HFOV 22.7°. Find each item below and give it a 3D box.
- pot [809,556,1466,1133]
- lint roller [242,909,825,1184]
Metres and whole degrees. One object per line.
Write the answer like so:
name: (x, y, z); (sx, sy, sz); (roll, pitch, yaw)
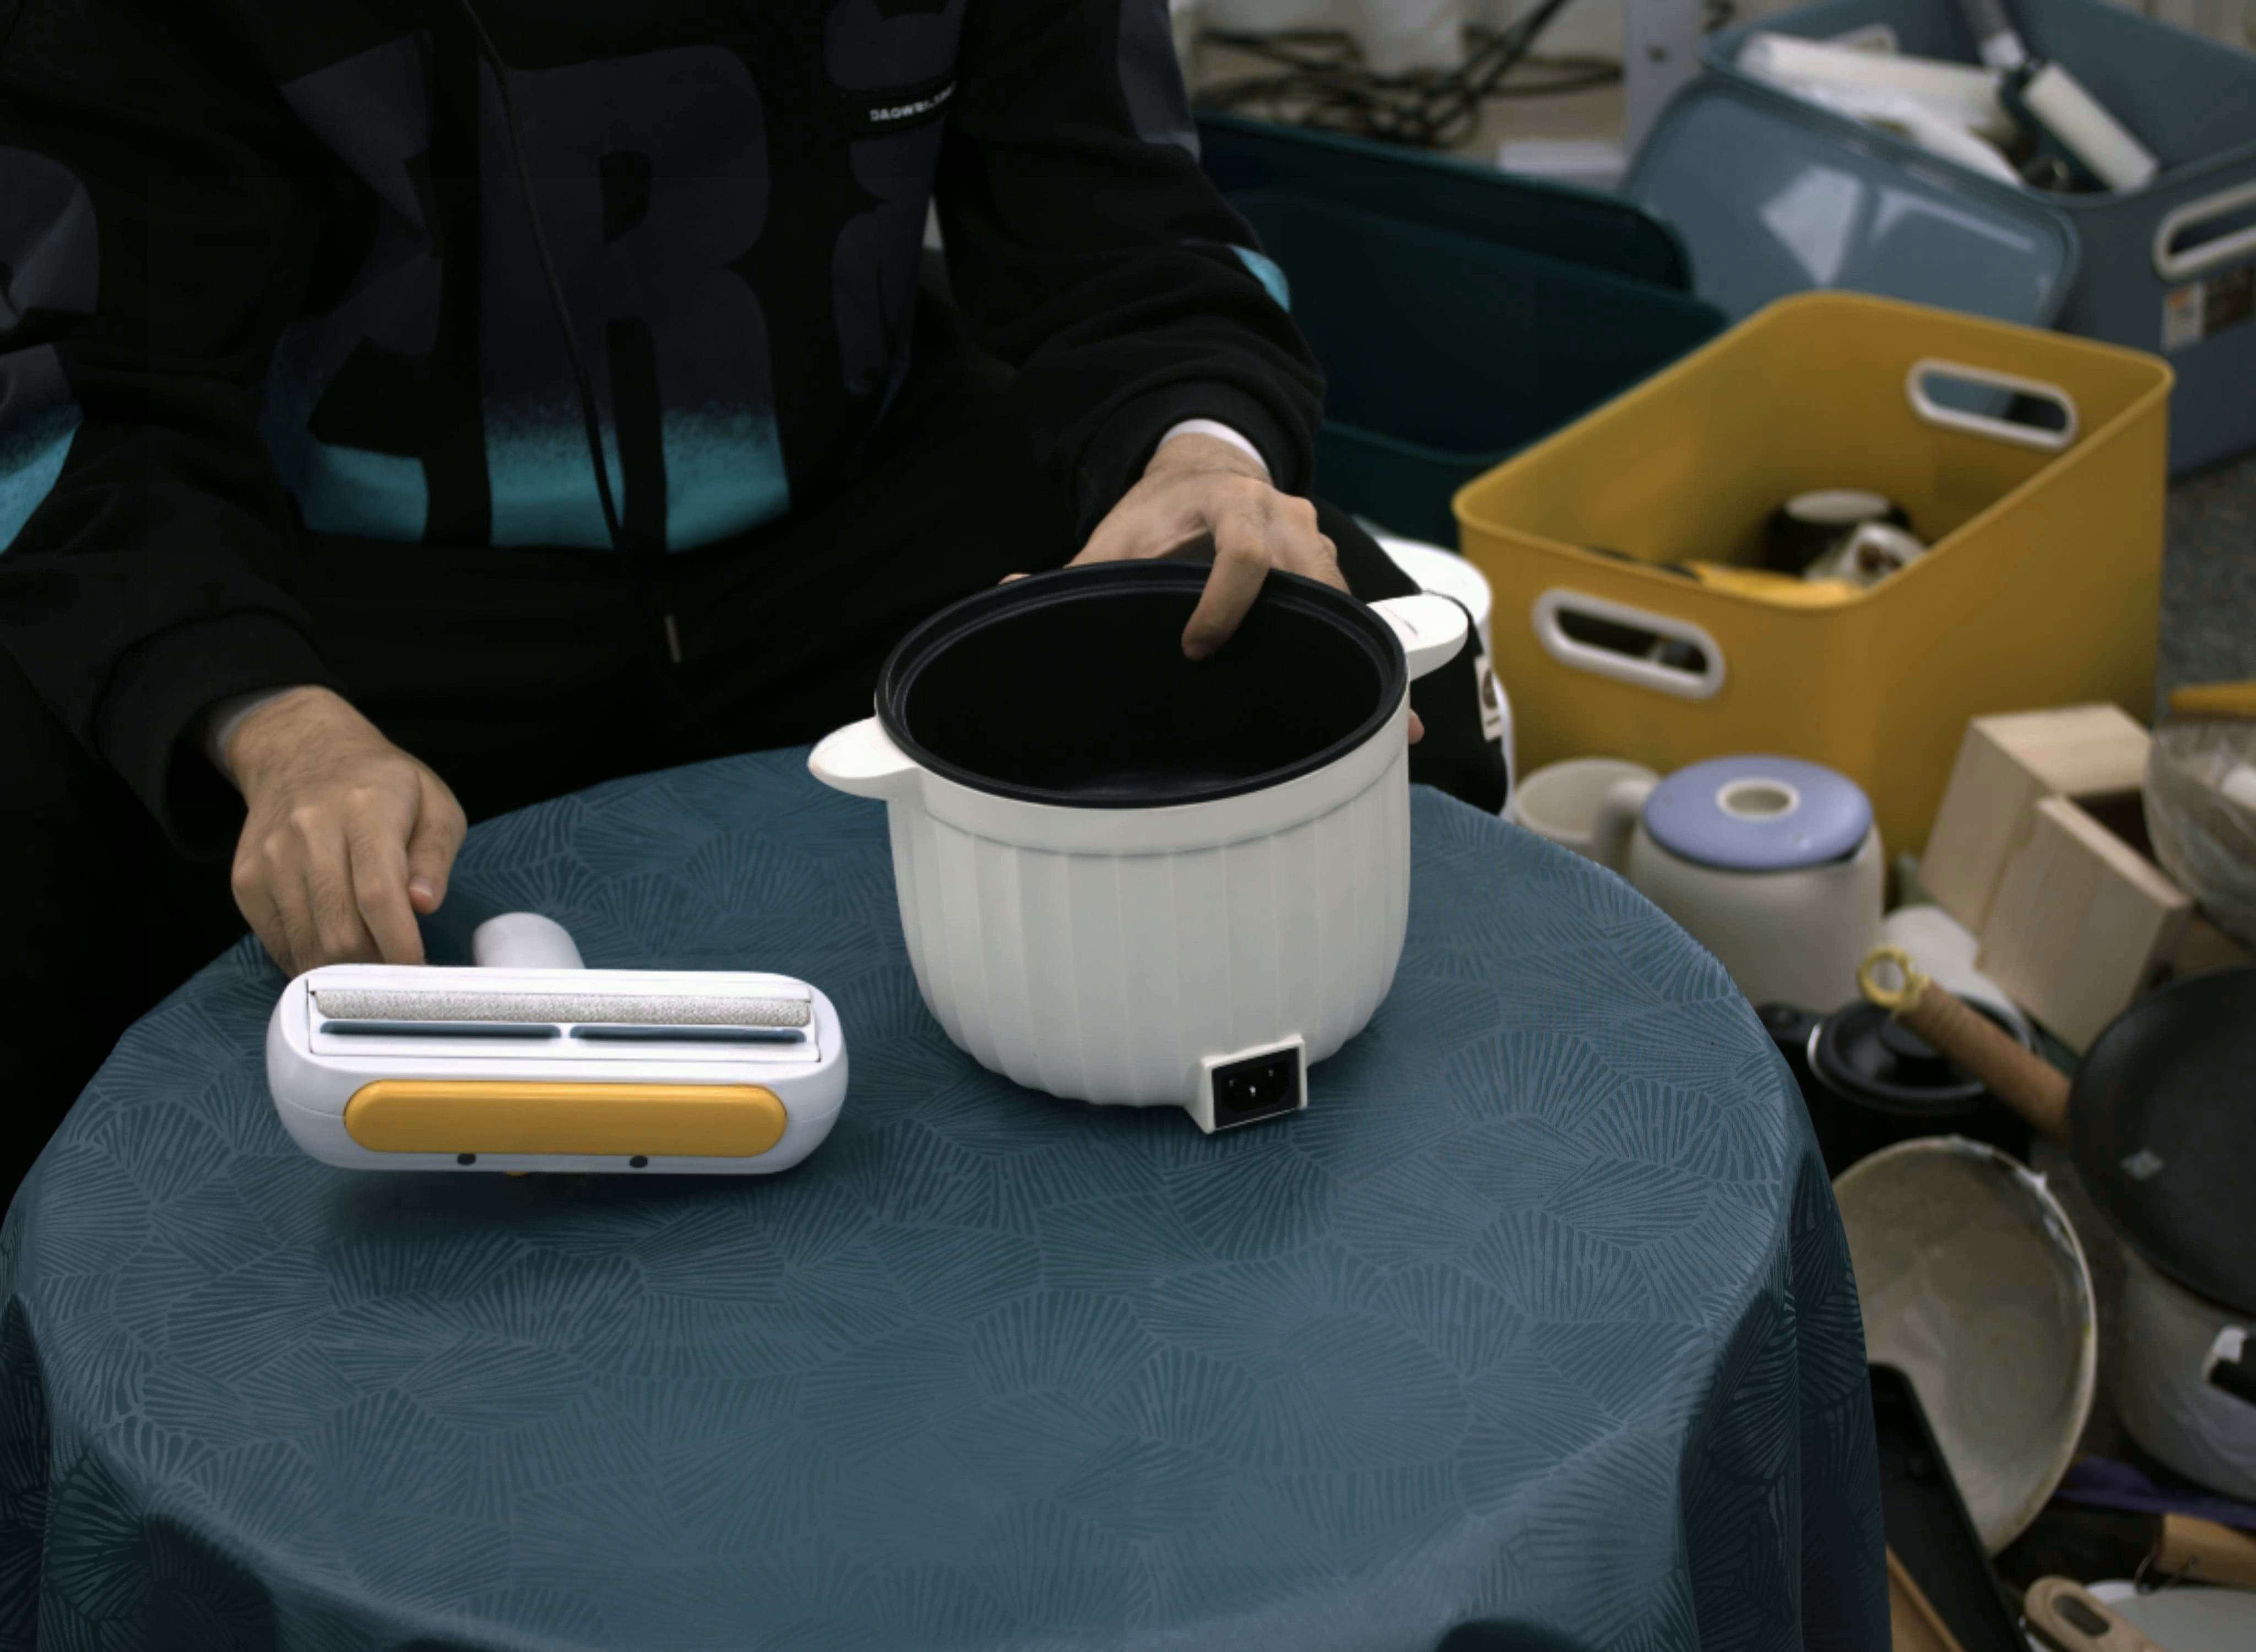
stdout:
pot: (0.005, 0.005, 1.935); (0.241, 0.141, 0.192); (-12, 31, -20)
lint roller: (-0.203, 0.063, 1.921); (0.192, 0.073, 0.195); (-1, 25, -7)
